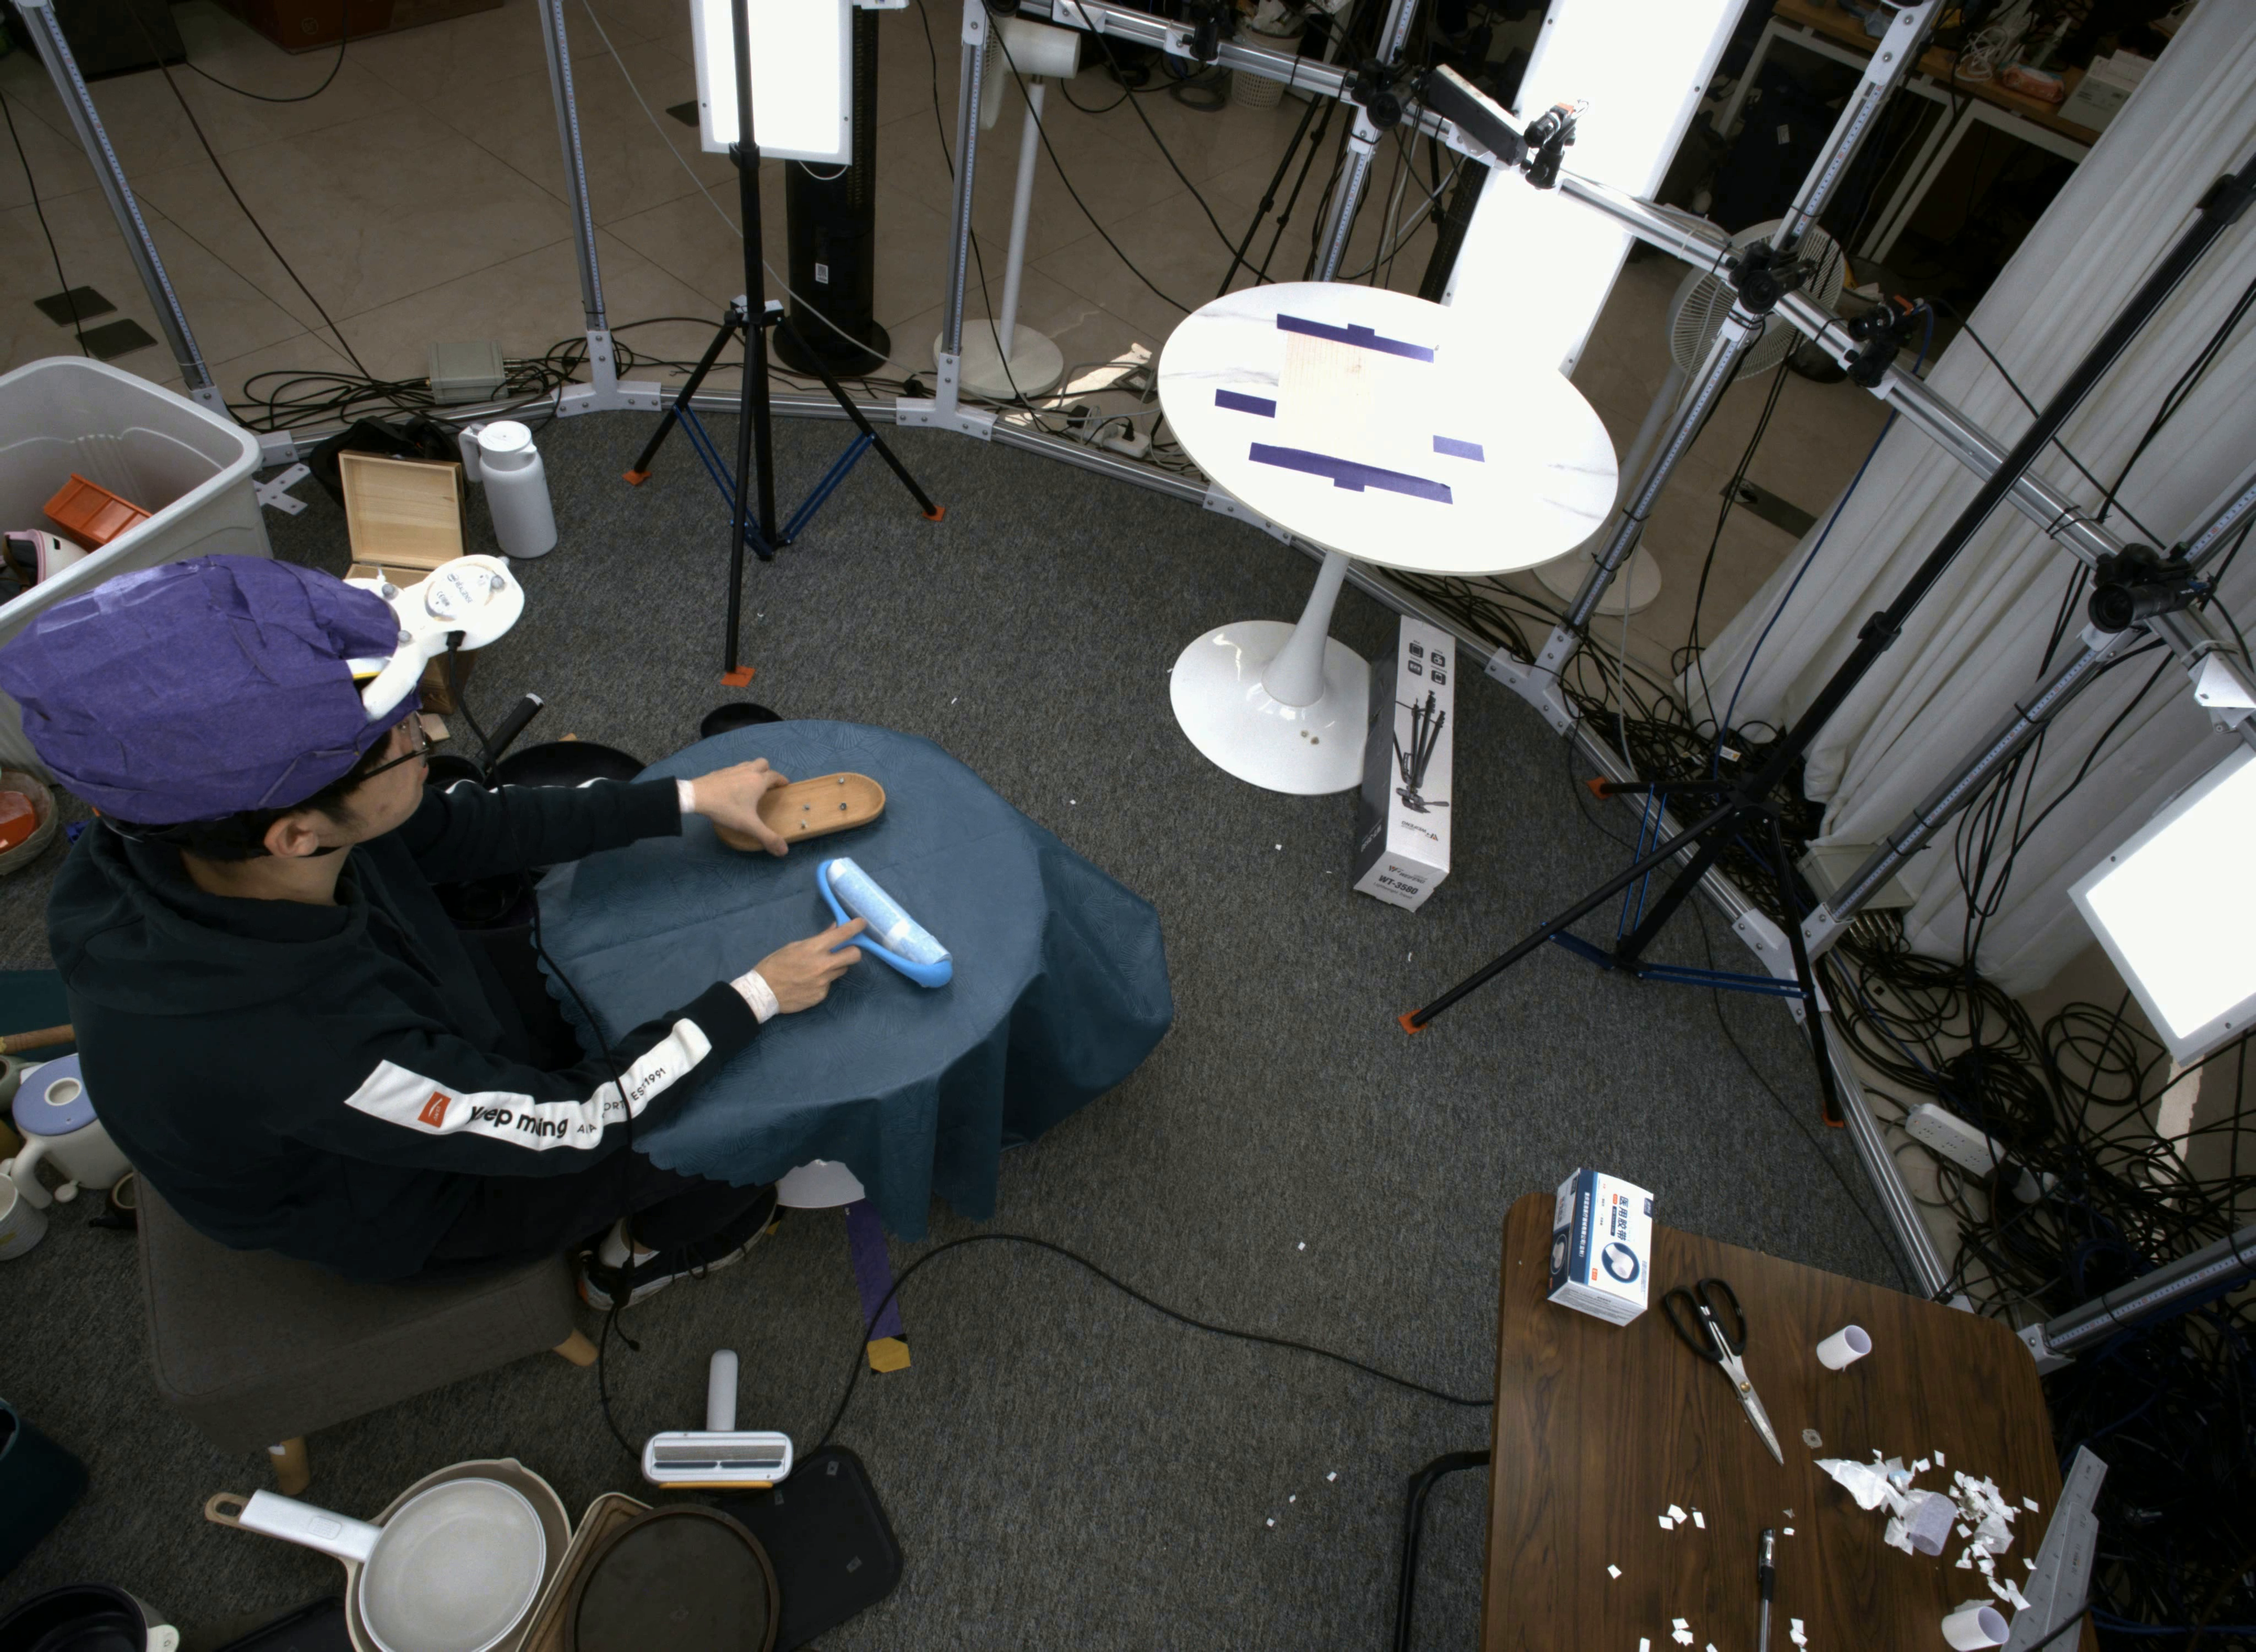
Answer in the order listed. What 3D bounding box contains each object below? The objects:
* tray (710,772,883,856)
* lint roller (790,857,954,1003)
[{"bbox_3d":[-0.437,-0.017,1.717,0.232,0.021,0.098,-18,51,-28],"label":"tray"},{"bbox_3d":[-0.342,0.147,1.603,0.225,0.069,0.180,40,53,13],"label":"lint roller"}]
